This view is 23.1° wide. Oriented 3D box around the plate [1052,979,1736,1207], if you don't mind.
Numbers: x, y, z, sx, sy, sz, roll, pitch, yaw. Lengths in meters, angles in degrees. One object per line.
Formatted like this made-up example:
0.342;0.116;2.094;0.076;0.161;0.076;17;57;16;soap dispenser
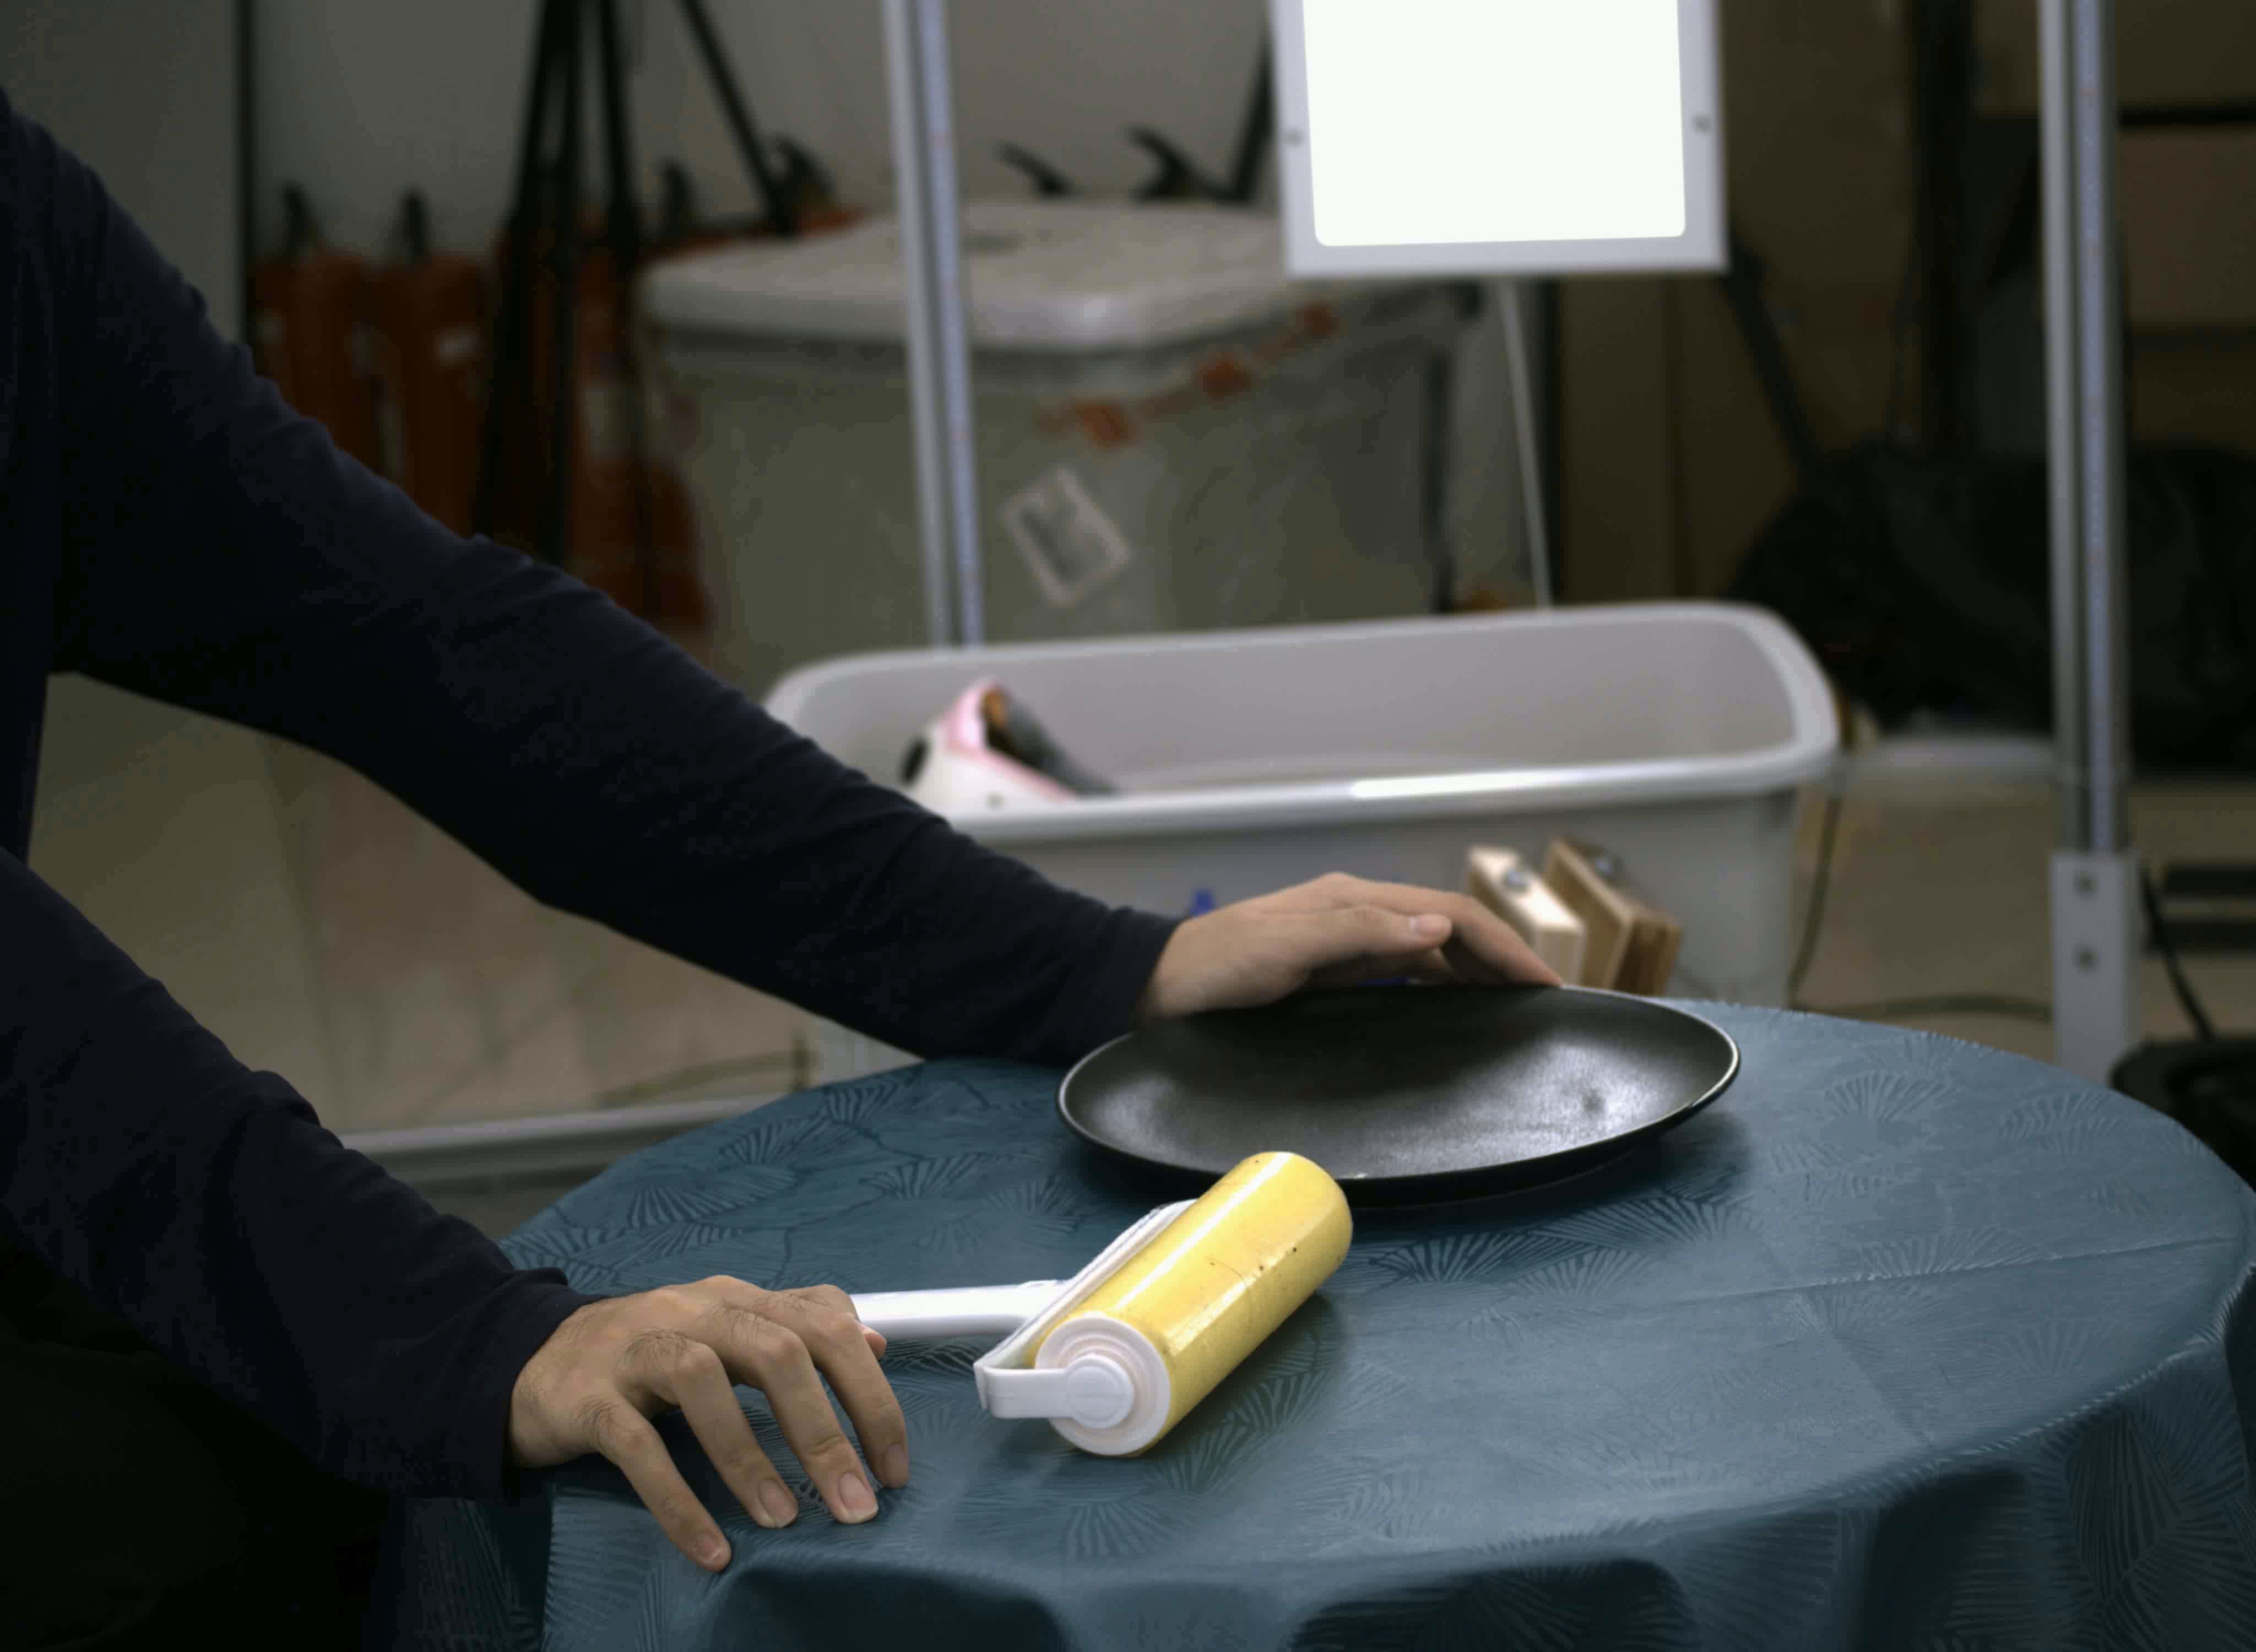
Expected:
0.094;0.097;1.943;0.244;0.023;0.244;-5;14;0;plate

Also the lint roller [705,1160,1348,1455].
-0.045;0.146;1.738;0.194;0.051;0.171;3;15;21;lint roller
